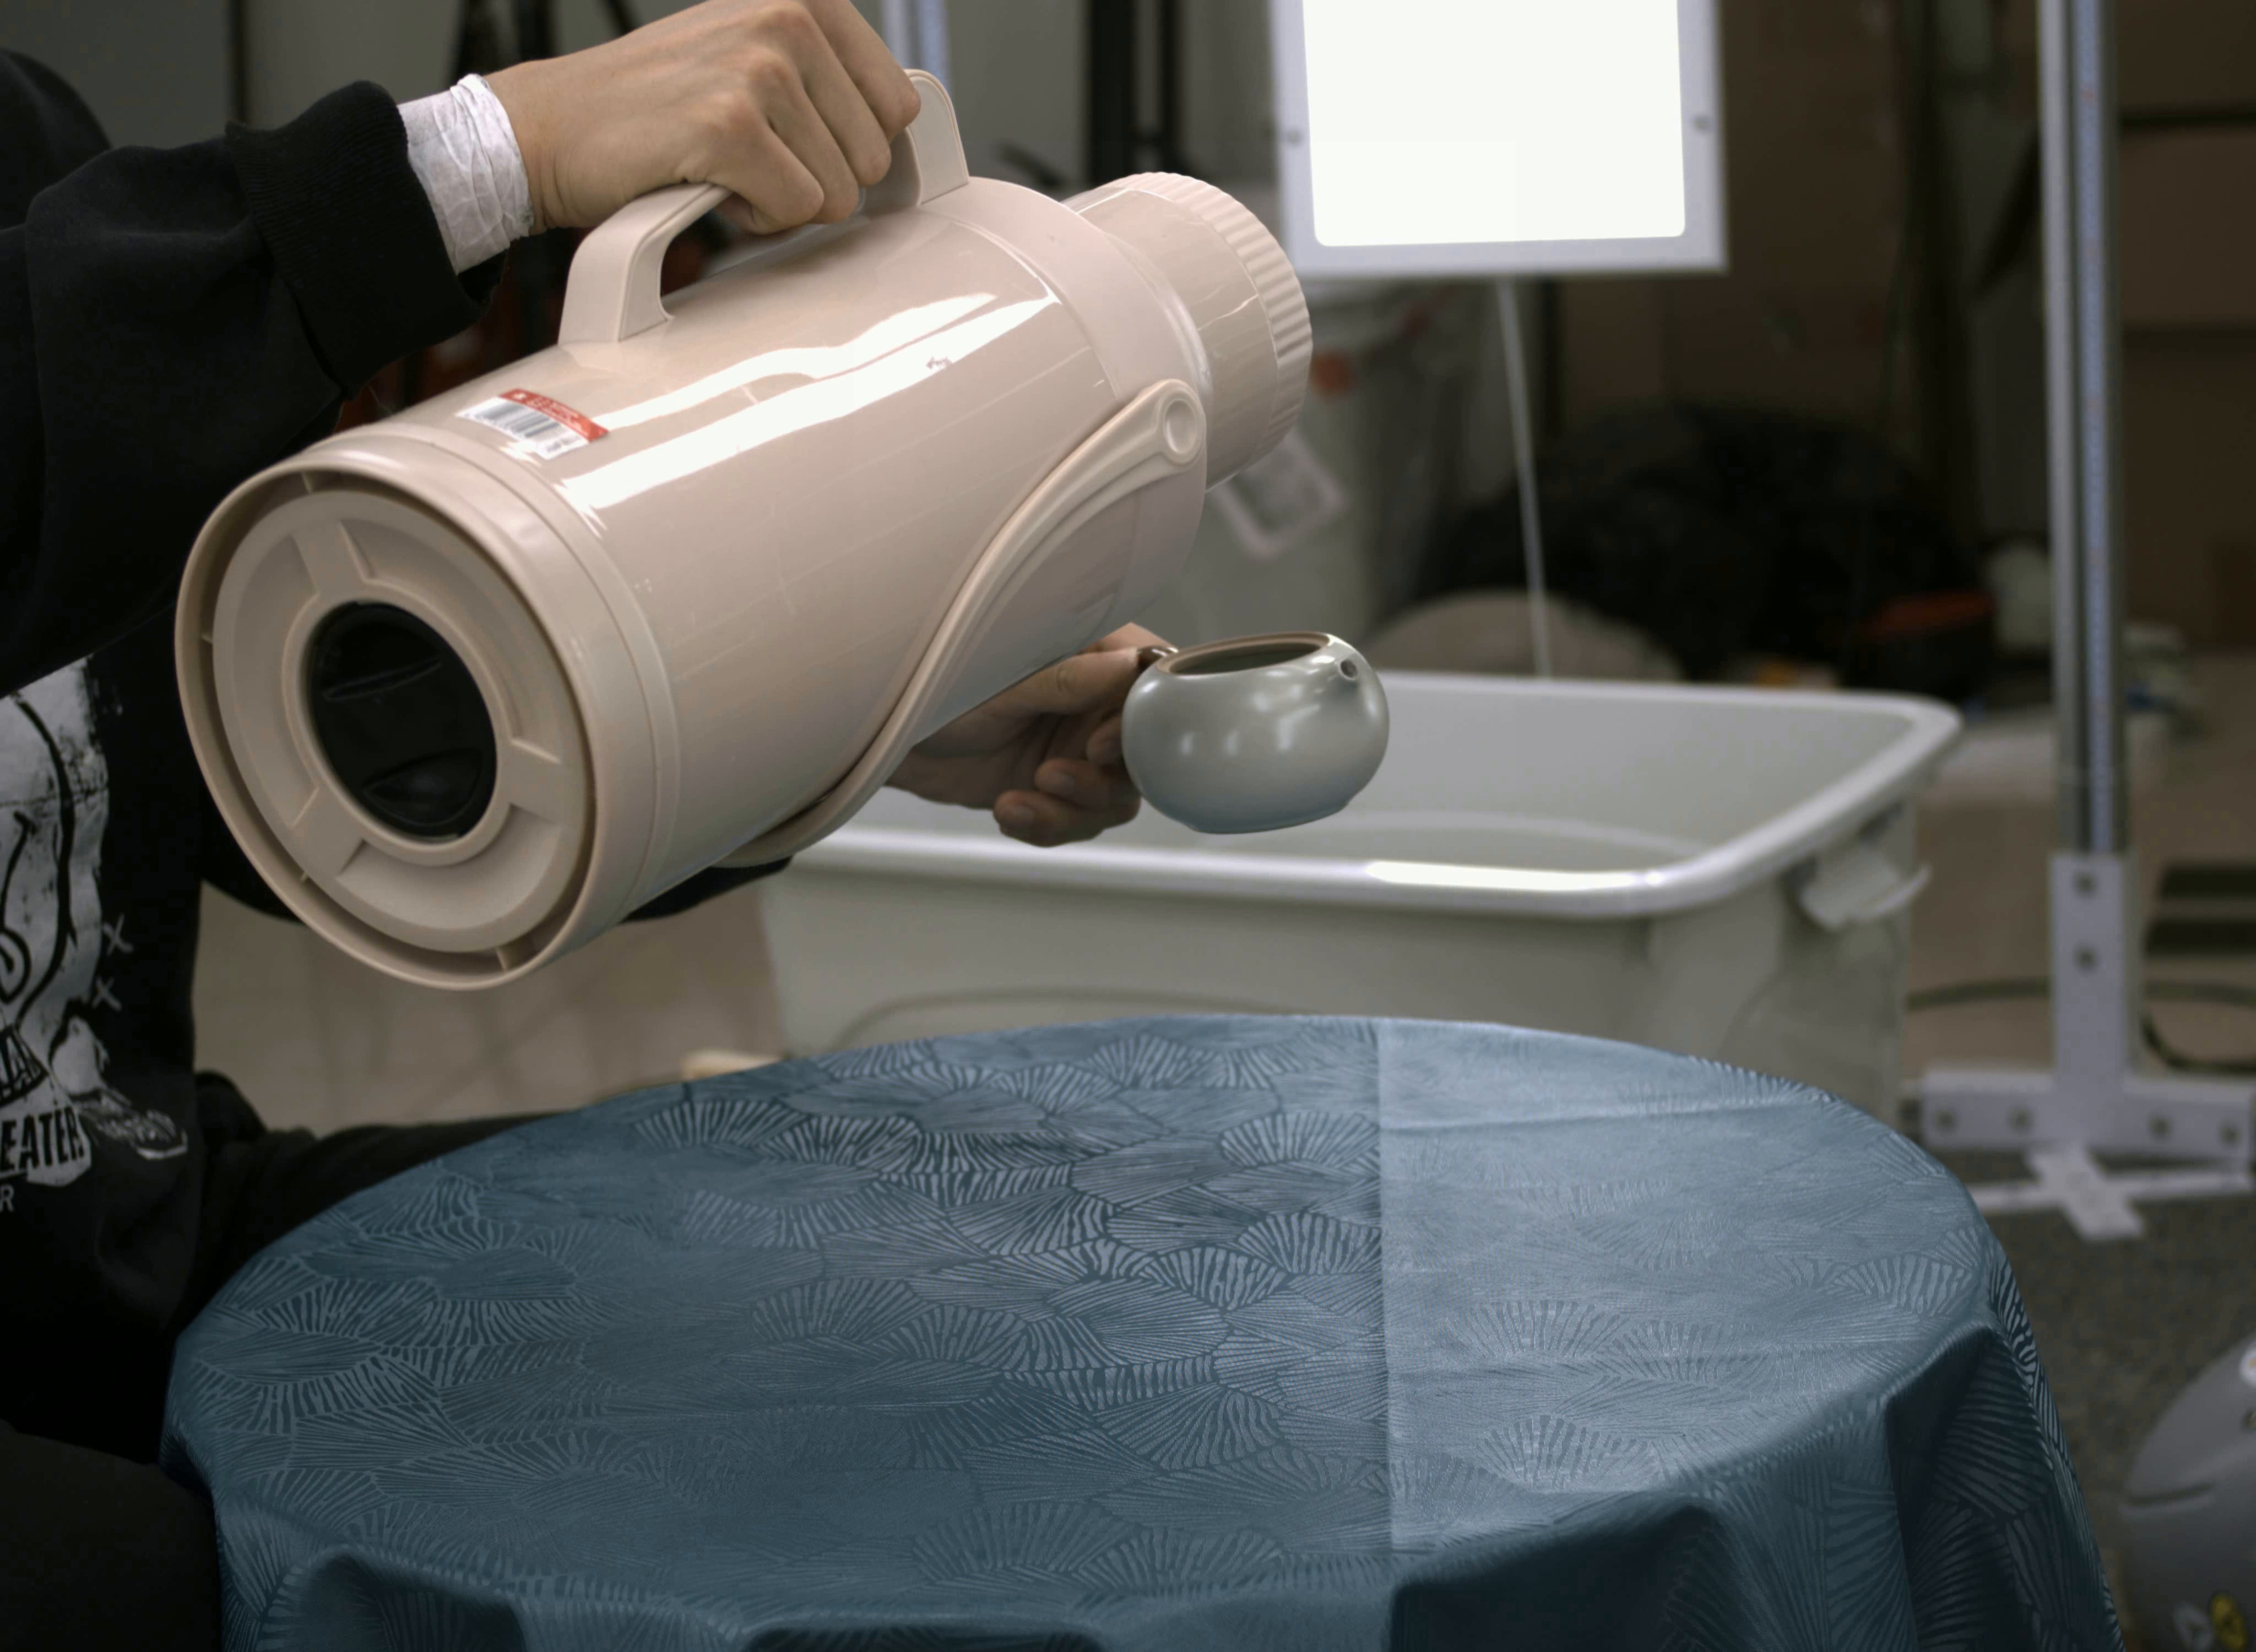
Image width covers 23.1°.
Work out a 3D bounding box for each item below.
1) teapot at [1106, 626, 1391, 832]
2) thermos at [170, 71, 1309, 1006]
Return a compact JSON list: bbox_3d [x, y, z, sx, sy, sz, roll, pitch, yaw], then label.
[{"bbox_3d":[0.038,-0.034,1.876,0.089,0.060,0.131,-23,18,-39],"label":"teapot"},{"bbox_3d":[-0.101,-0.108,1.676,0.179,0.207,0.397,3,24,40],"label":"thermos"}]
